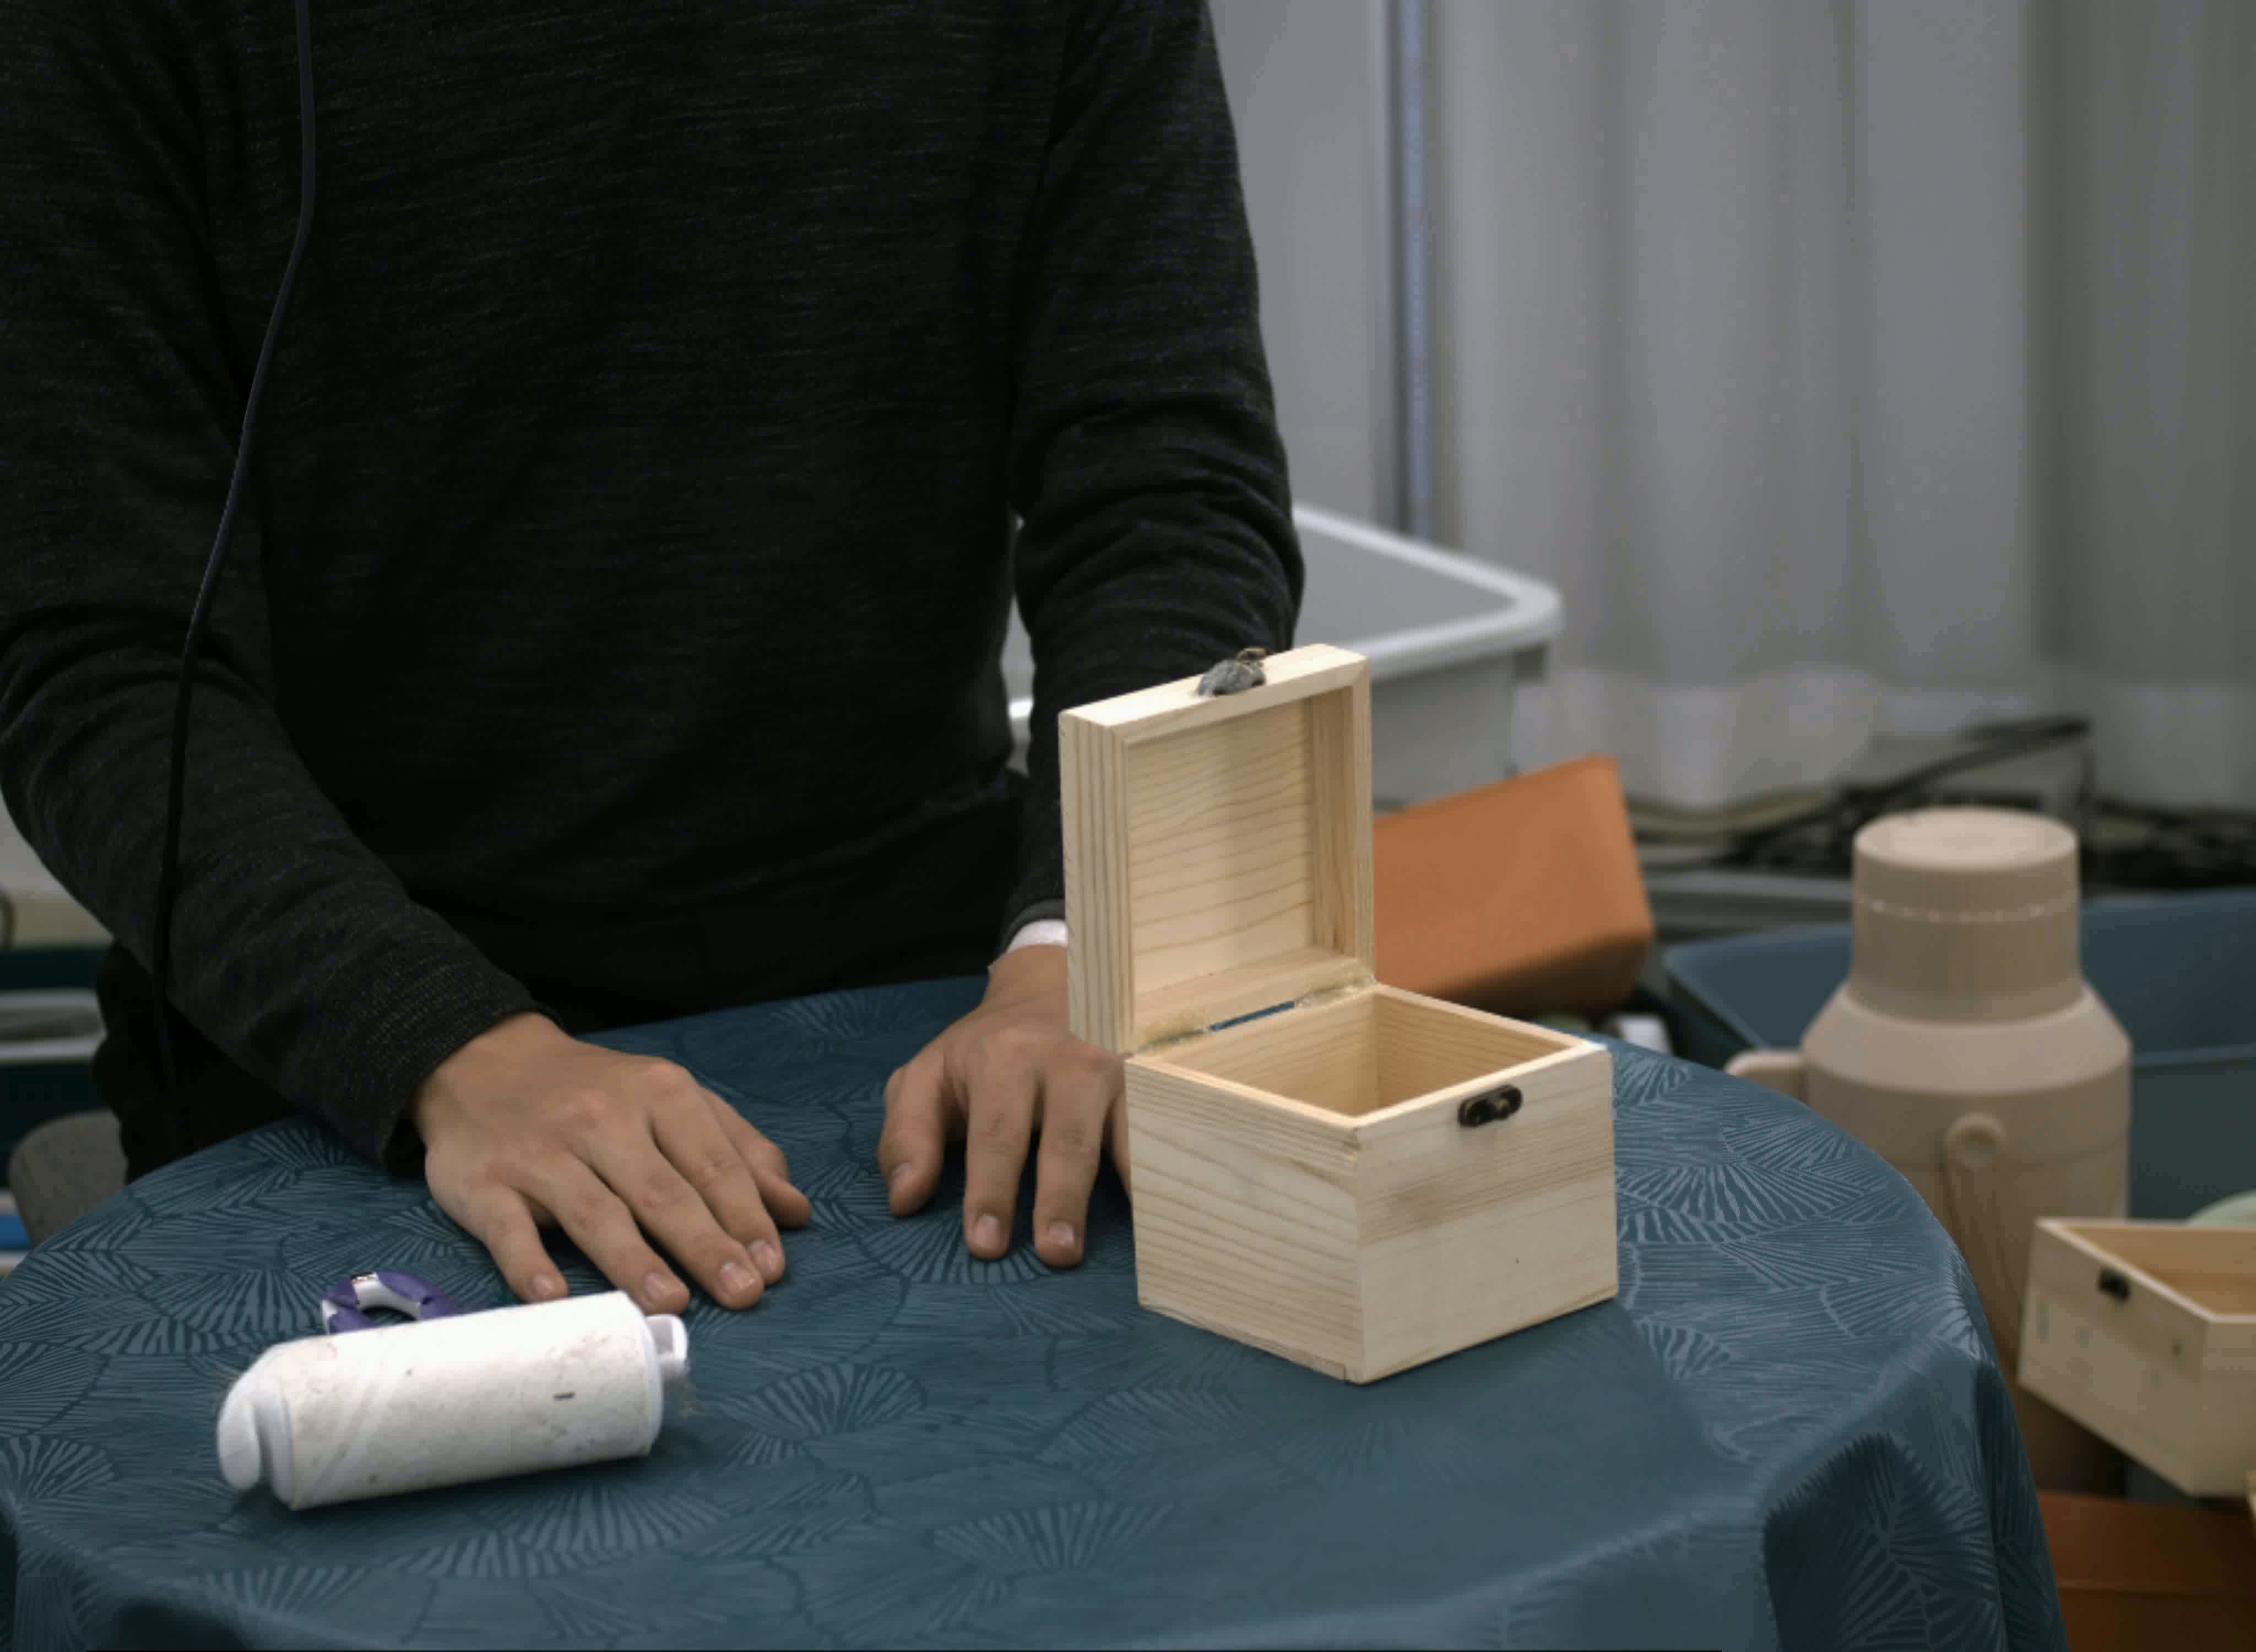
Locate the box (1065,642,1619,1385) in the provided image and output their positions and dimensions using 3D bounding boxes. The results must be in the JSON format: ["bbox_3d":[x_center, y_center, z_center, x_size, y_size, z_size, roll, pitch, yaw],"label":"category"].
[{"bbox_3d":[0.063,0.050,1.590,0.102,0.184,0.135,-13,16,-37],"label":"box"}]

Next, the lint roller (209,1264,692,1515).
[{"bbox_3d":[-0.203,0.142,1.561,0.132,0.050,0.182,-8,18,-14],"label":"lint roller"}]
